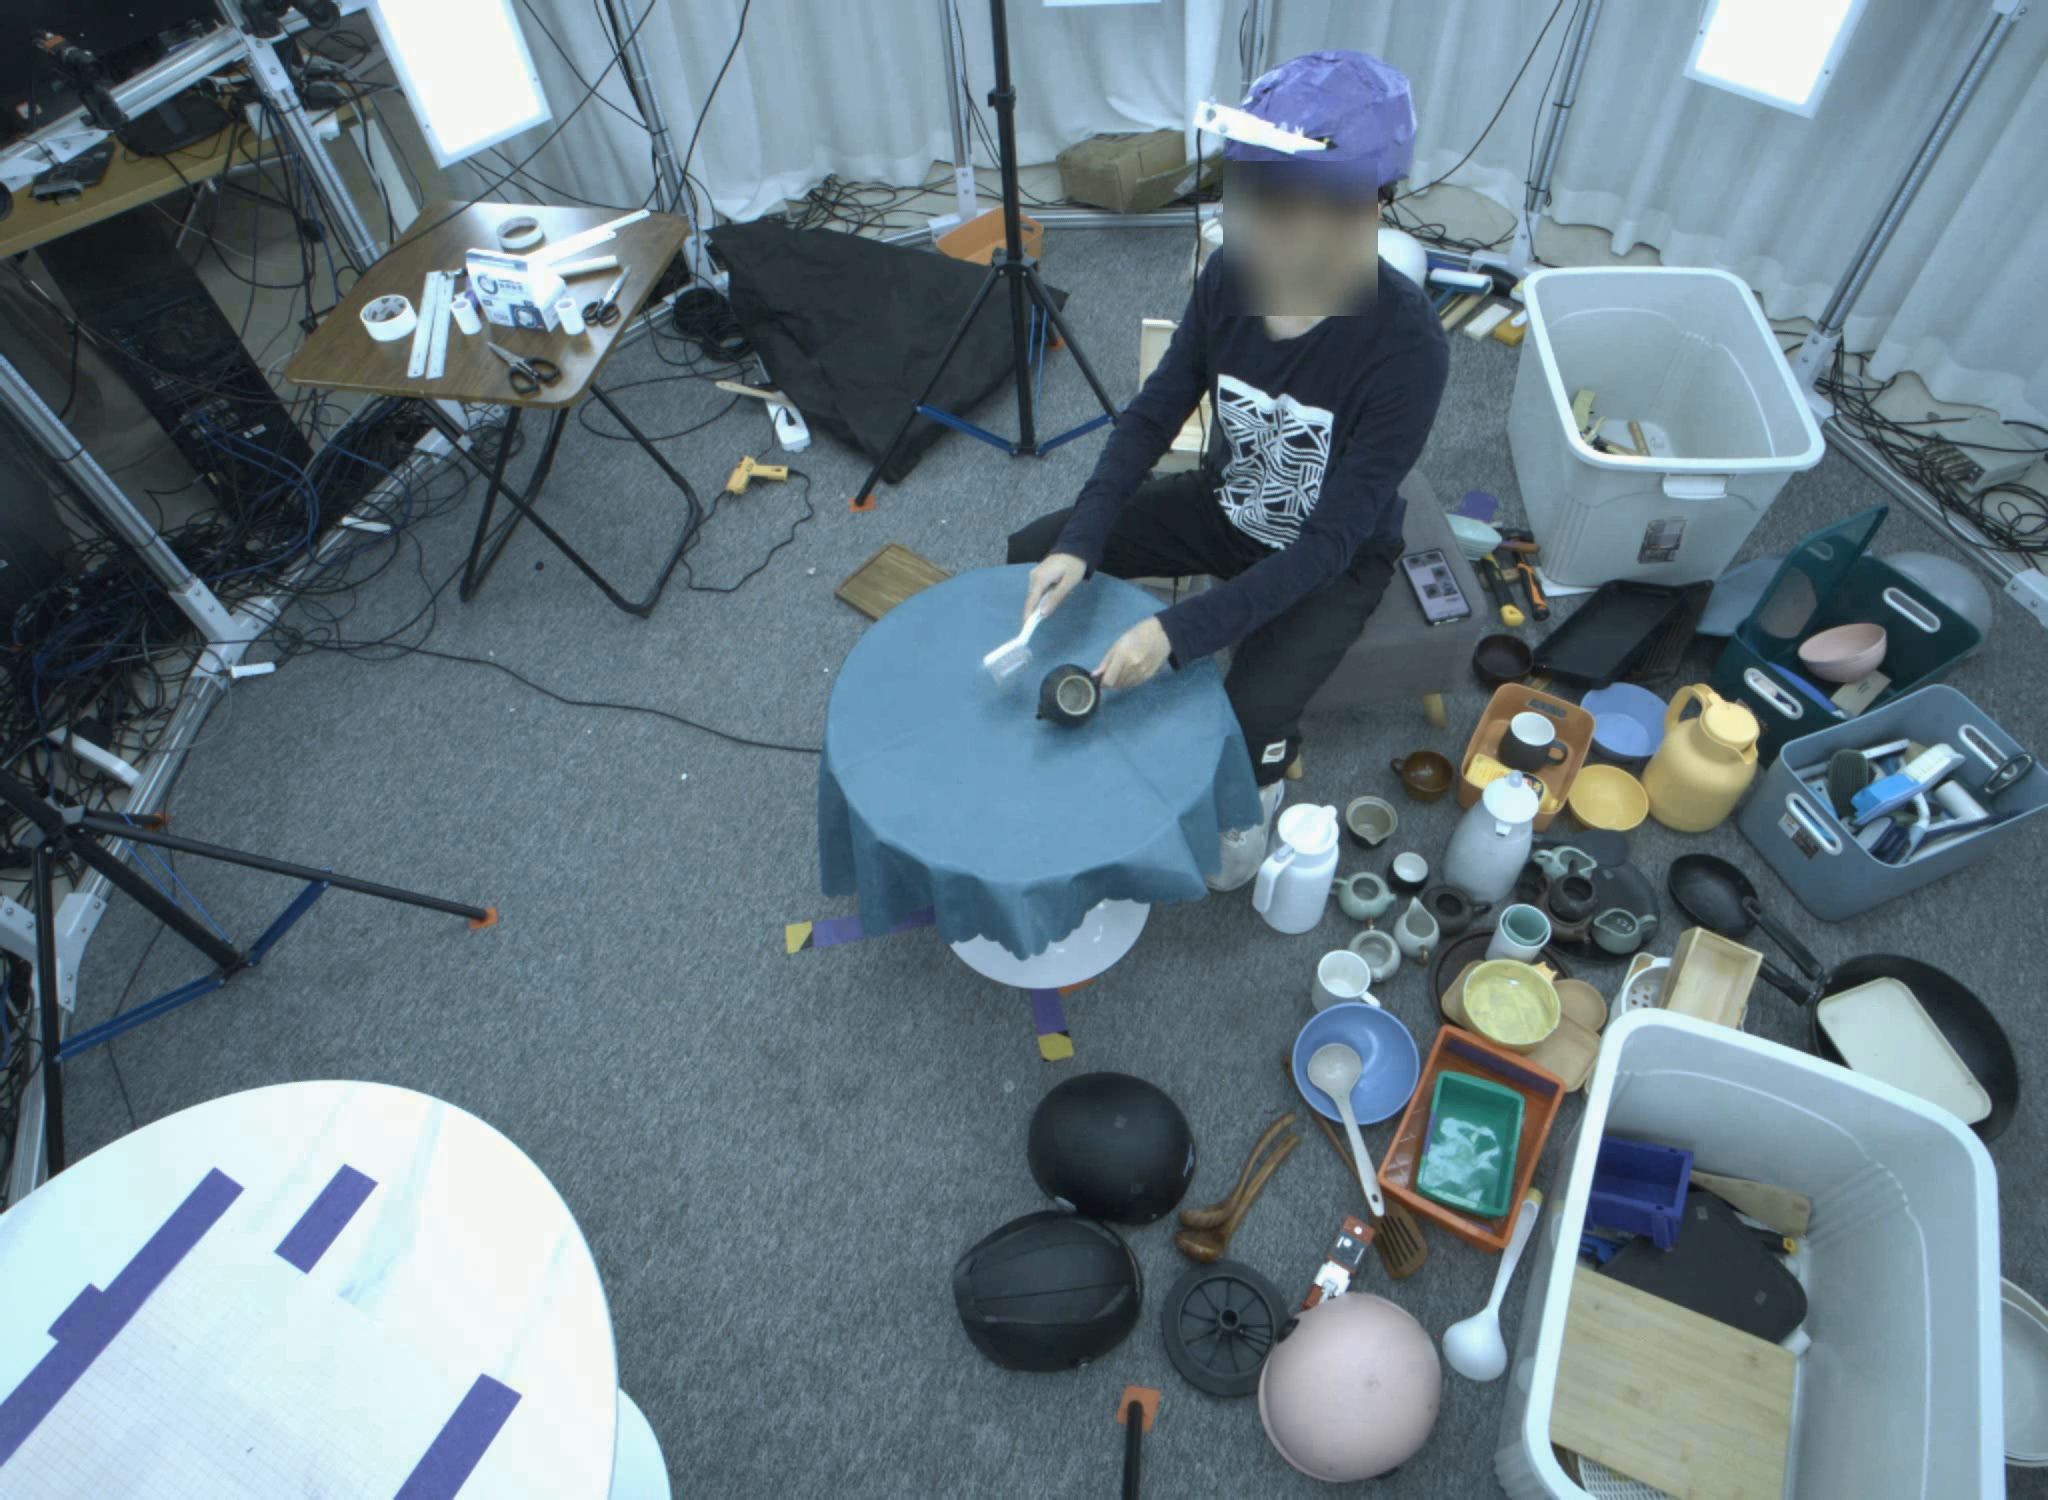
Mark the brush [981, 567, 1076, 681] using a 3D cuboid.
[{"bbox_3d":[0.021,-0.192,1.843,0.049,0.035,0.245,26,58,27],"label":"brush"}]

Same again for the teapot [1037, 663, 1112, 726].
[{"bbox_3d":[0.069,-0.080,1.780,0.134,0.052,0.091,-33,102,-11],"label":"teapot"}]
